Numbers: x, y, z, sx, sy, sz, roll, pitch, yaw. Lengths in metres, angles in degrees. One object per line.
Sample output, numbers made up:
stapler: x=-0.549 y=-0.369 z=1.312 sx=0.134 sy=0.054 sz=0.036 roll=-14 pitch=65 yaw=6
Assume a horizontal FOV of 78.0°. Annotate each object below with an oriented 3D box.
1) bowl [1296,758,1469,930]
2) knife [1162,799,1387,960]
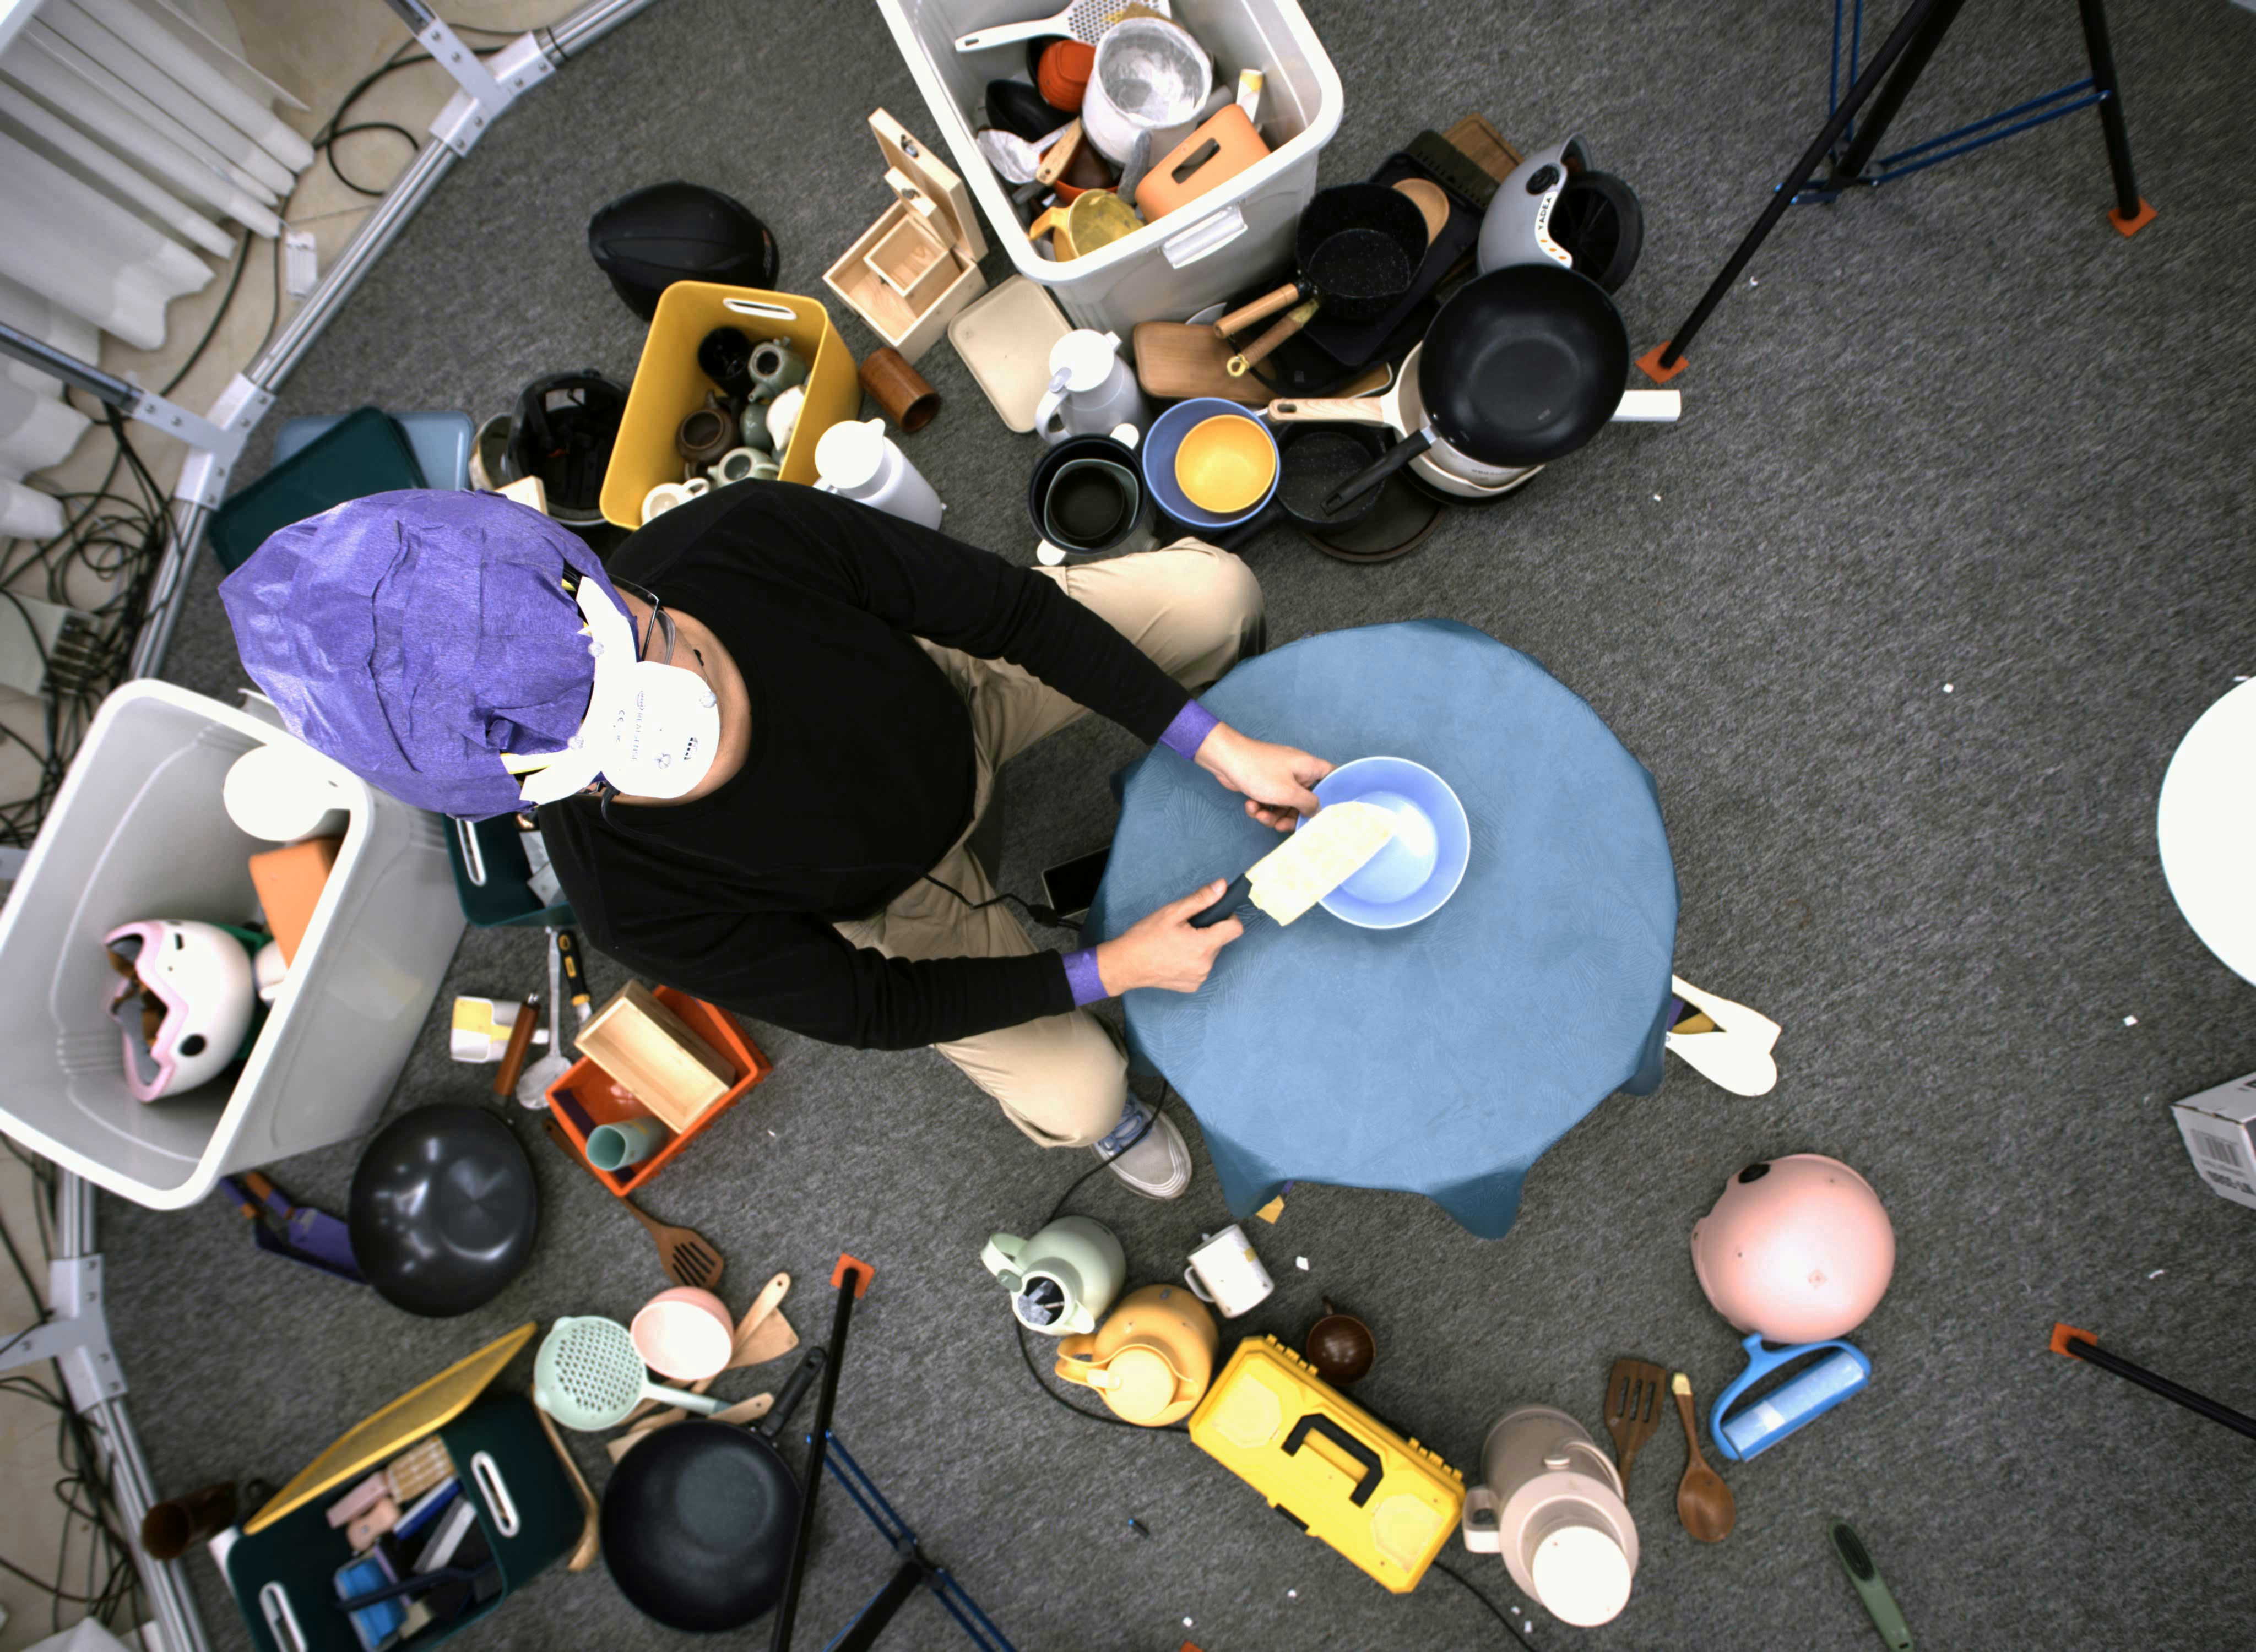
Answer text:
bowl: x=0.263 y=0.019 z=1.430 sx=0.177 sy=0.070 sz=0.175 roll=-1 pitch=87 yaw=11
knife: x=0.148 y=0.062 z=1.410 sx=0.295 sy=0.026 sz=0.081 roll=-38 pitch=106 yaw=28
